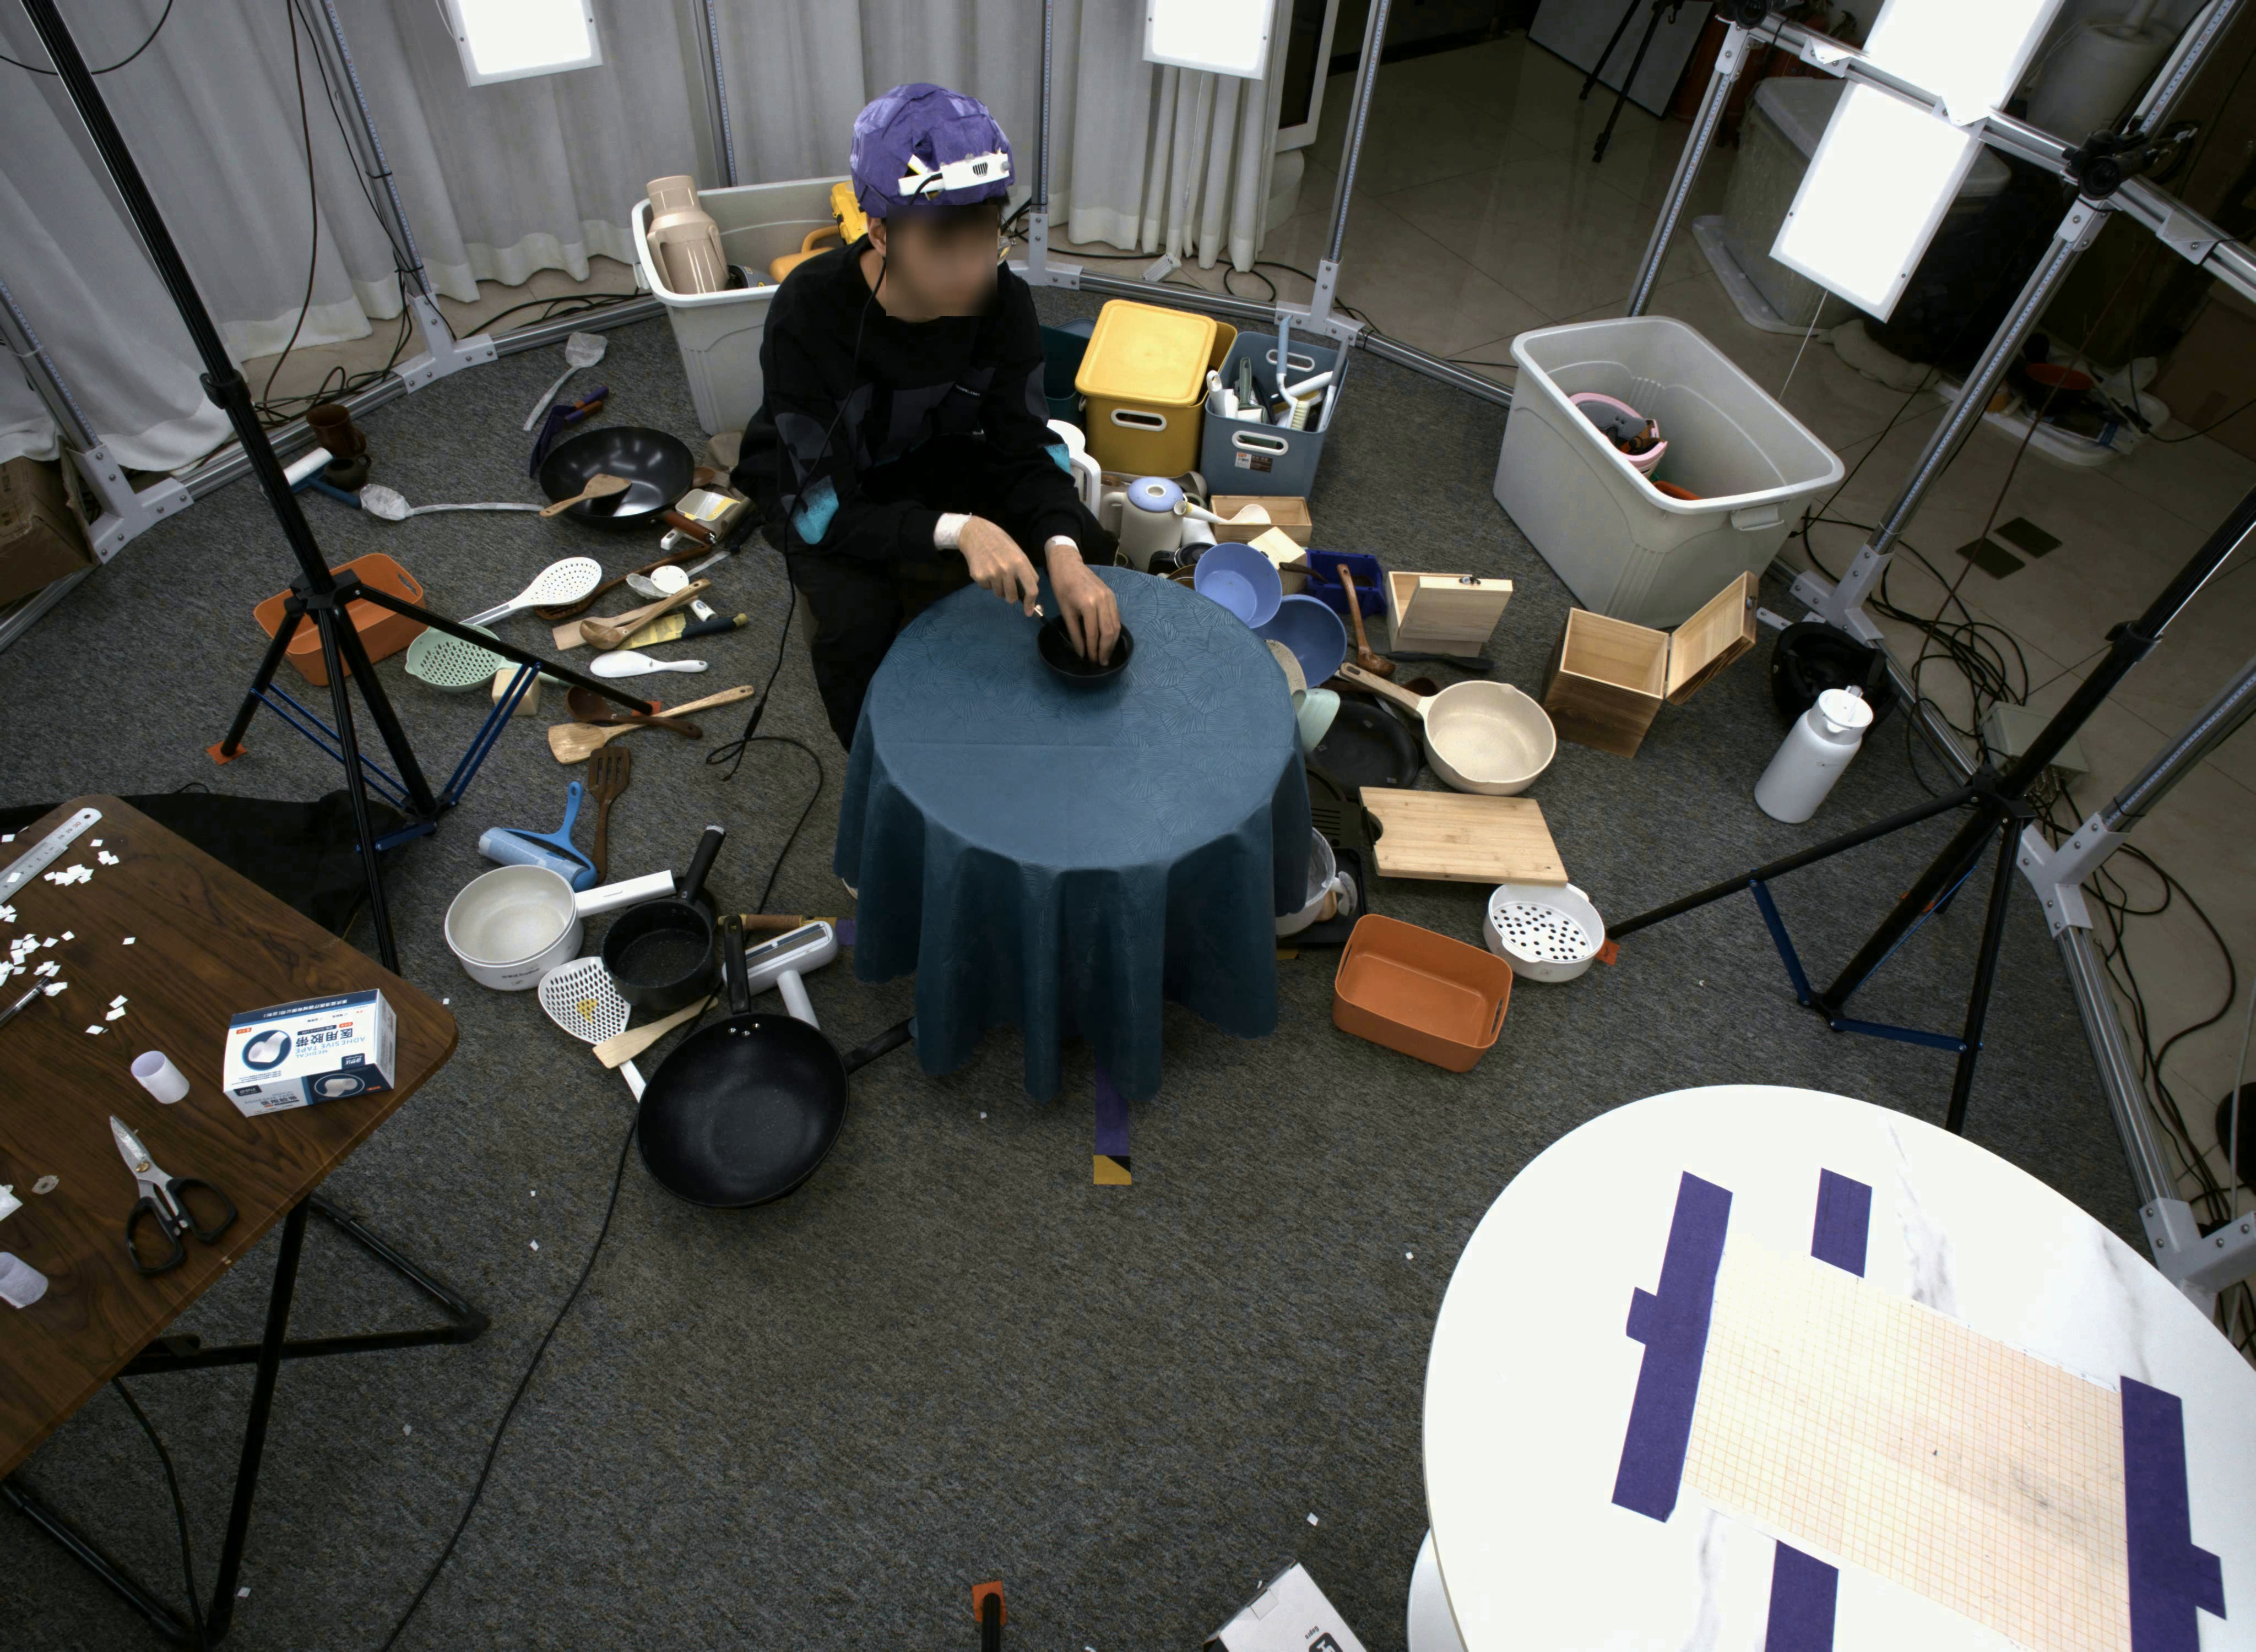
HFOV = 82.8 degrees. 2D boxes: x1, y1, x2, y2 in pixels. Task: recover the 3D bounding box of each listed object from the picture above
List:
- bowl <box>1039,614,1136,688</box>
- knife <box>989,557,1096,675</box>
[{"bbox_3d":[-0.057,-0.243,1.848,0.140,0.048,0.143,-1,47,0],"label":"bowl"},{"bbox_3d":[-0.117,-0.296,1.834,0.224,0.026,0.017,47,65,-8],"label":"knife"}]
